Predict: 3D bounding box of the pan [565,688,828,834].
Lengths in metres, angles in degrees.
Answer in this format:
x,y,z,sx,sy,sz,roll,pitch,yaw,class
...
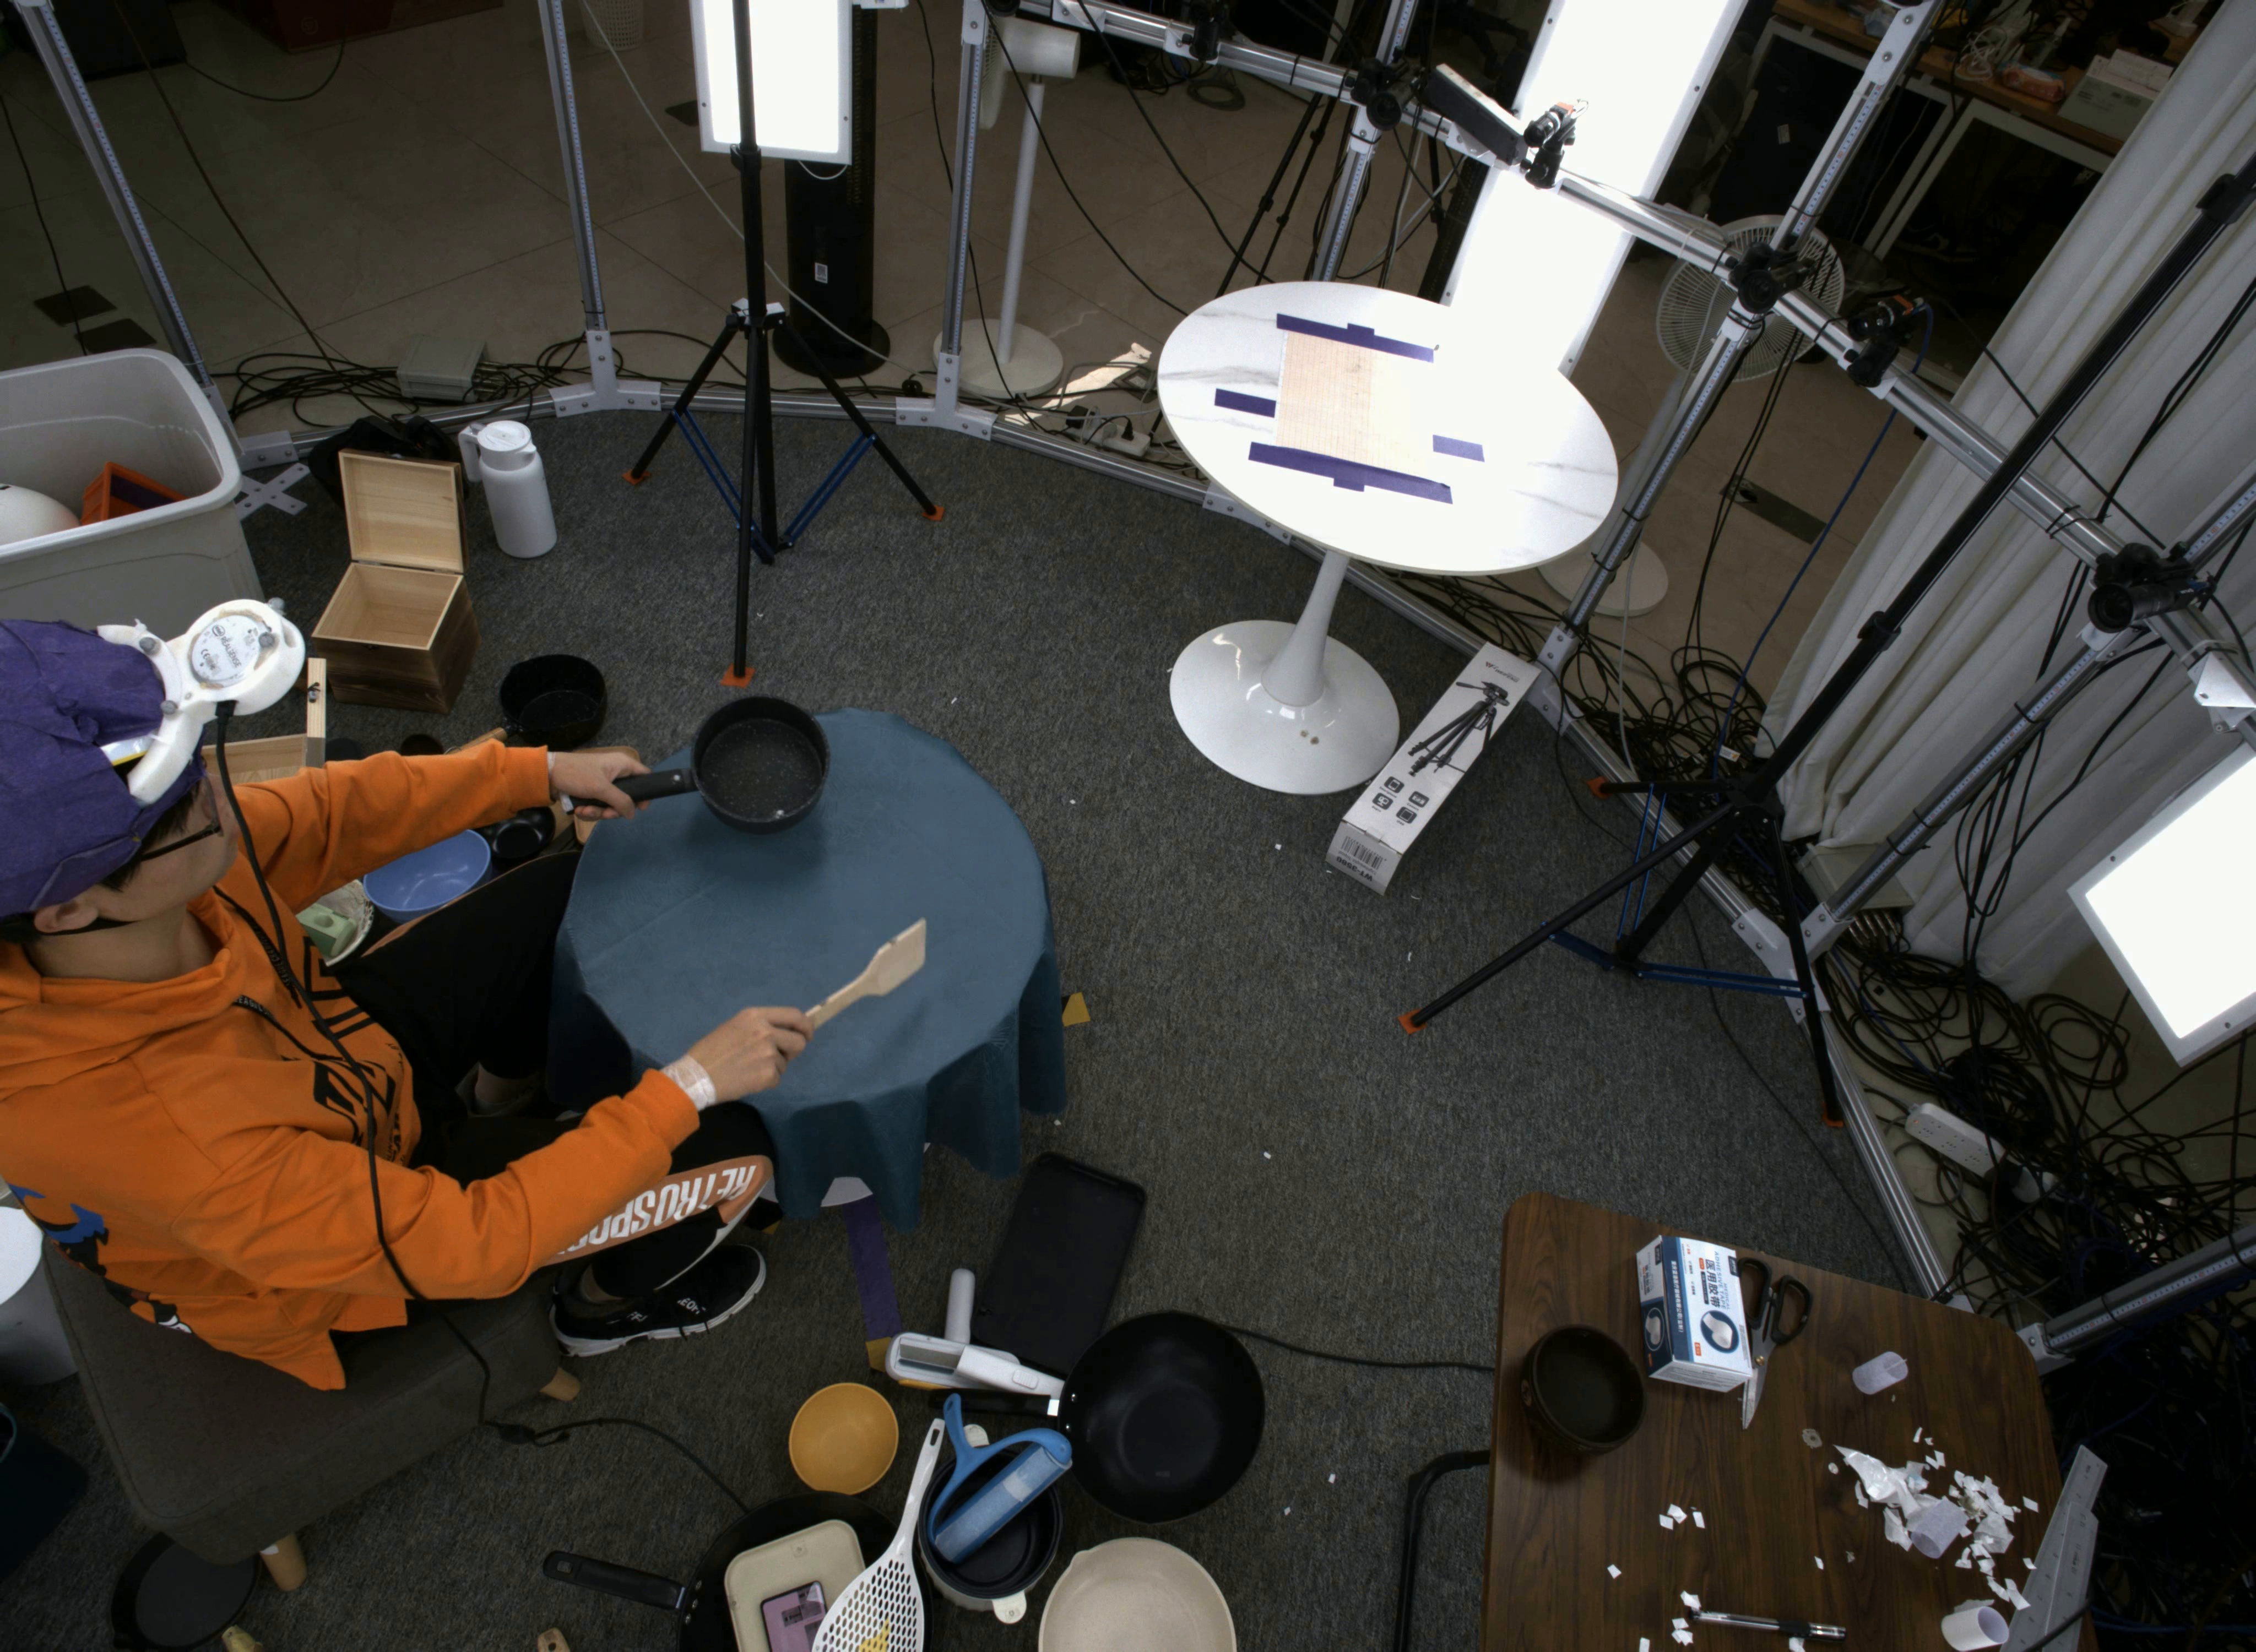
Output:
x,y,z,sx,sy,sz,roll,pitch,yaw,class
-0.542,-0.063,1.608,0.330,0.086,0.171,-12,78,-21,pan

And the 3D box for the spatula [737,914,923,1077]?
x,y,z,sx,sy,sz,roll,pitch,yaw,class
-0.325,0.189,1.450,0.010,0.074,0.294,26,38,23,spatula
